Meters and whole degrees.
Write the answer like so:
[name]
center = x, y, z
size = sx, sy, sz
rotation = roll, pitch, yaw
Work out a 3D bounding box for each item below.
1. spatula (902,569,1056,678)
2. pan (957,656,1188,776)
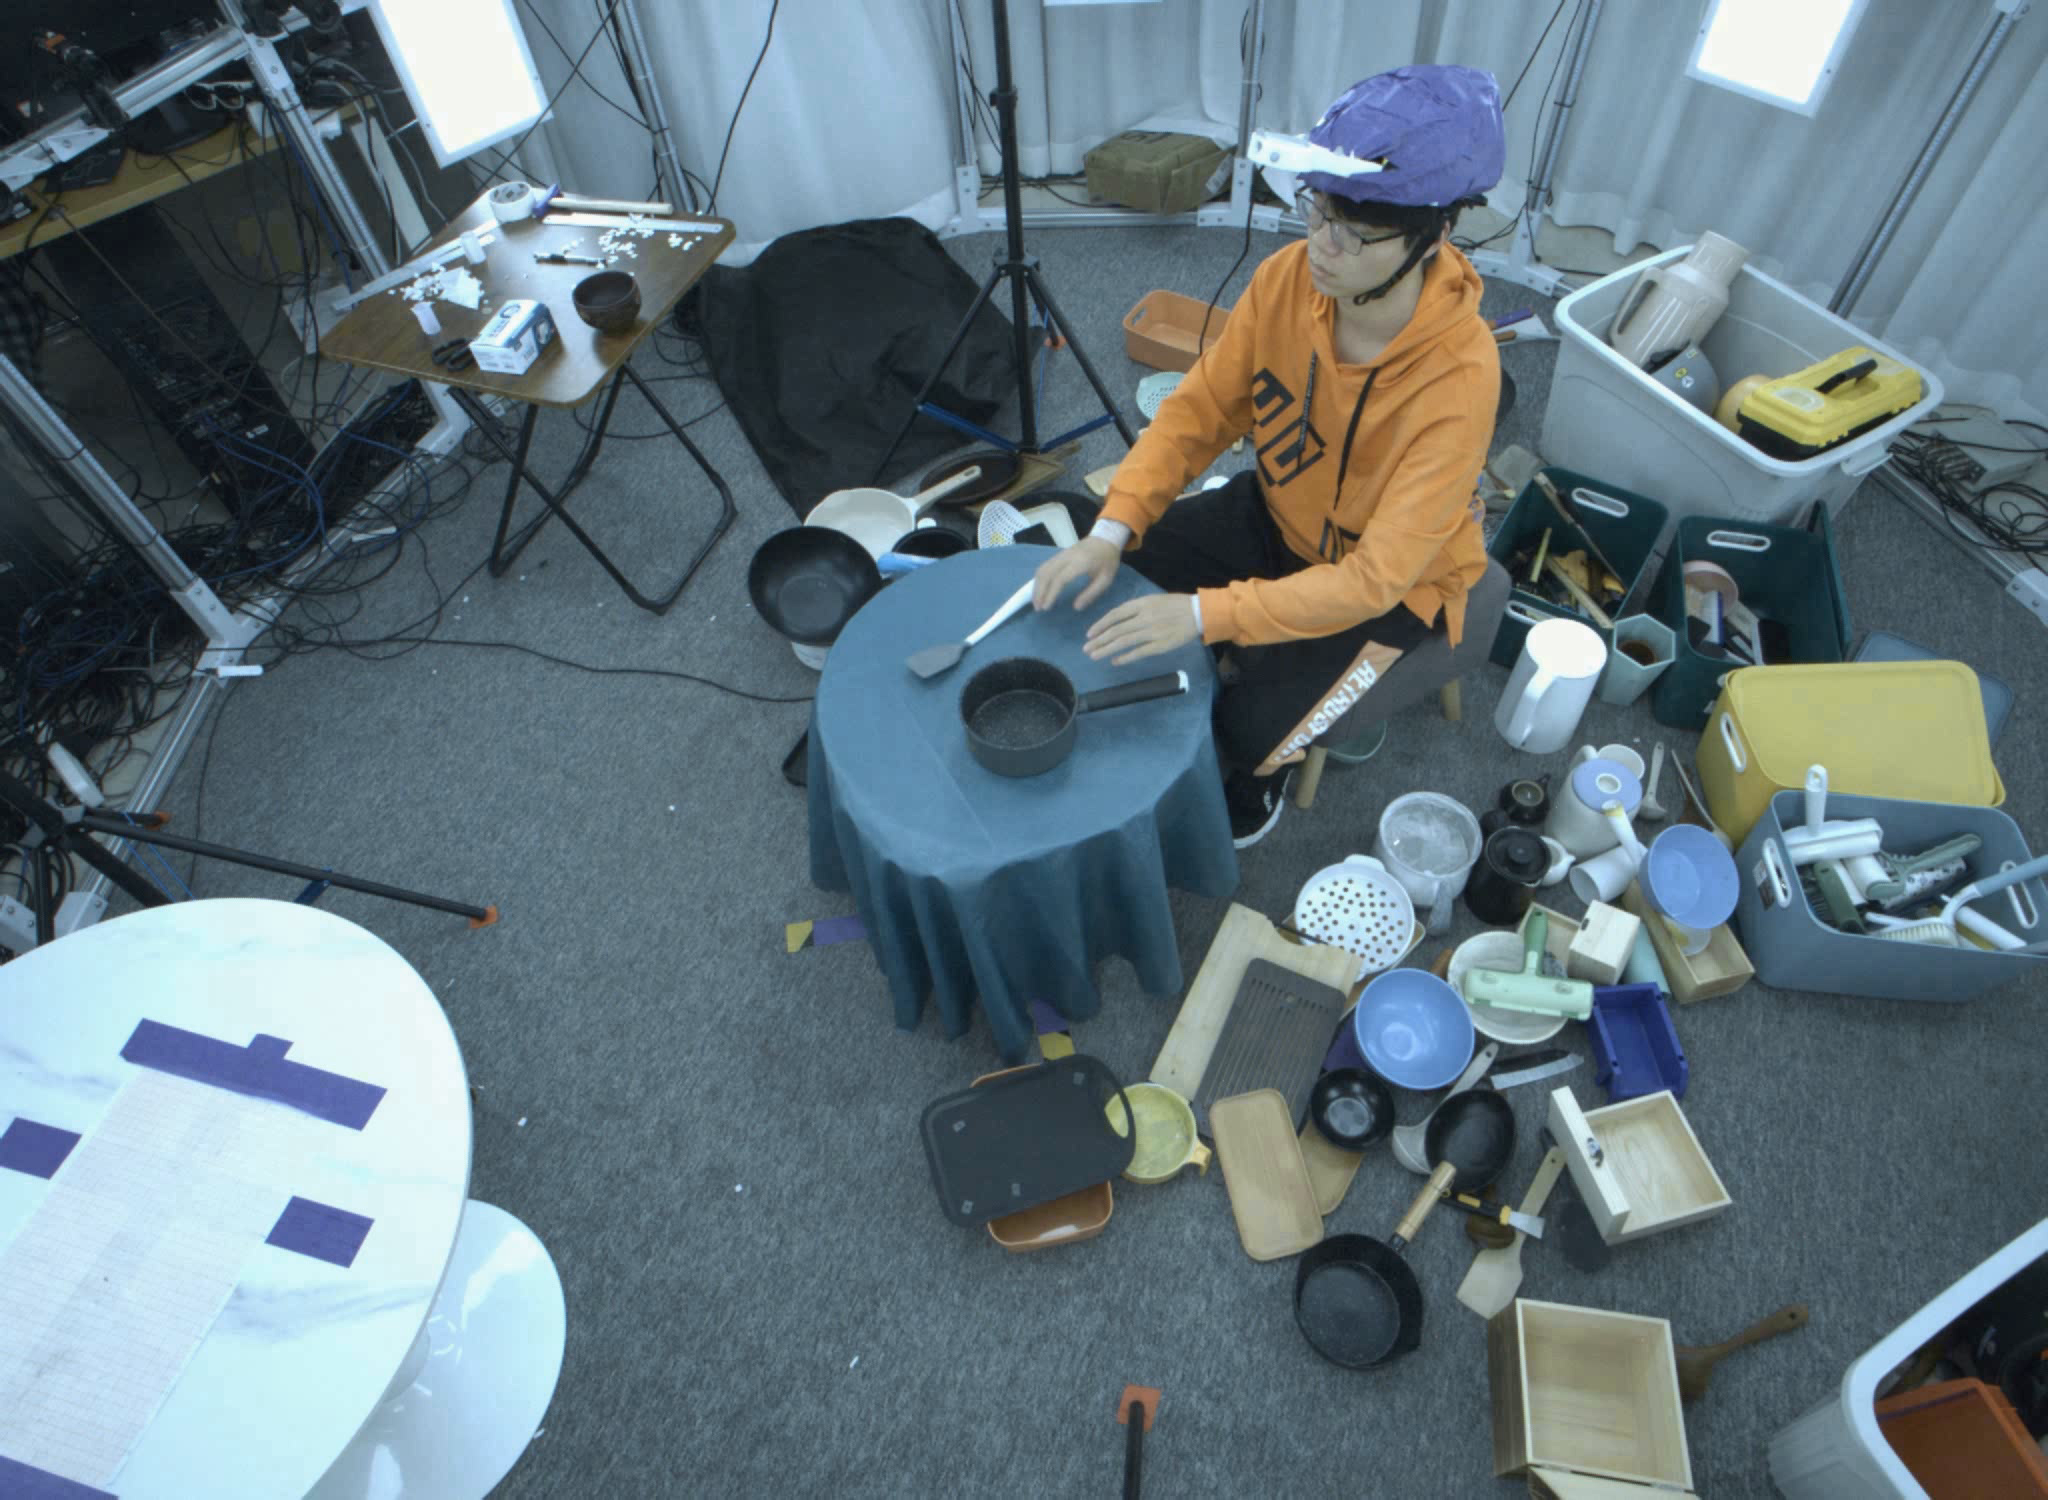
[spatula]
center = -0.065, -0.195, 1.908
size = 0.290, 0.032, 0.057
rotation = -37, 62, -22
[pan]
center = 0.072, -0.057, 1.772
size = 0.329, 0.087, 0.170
rotation = -5, 55, 1
